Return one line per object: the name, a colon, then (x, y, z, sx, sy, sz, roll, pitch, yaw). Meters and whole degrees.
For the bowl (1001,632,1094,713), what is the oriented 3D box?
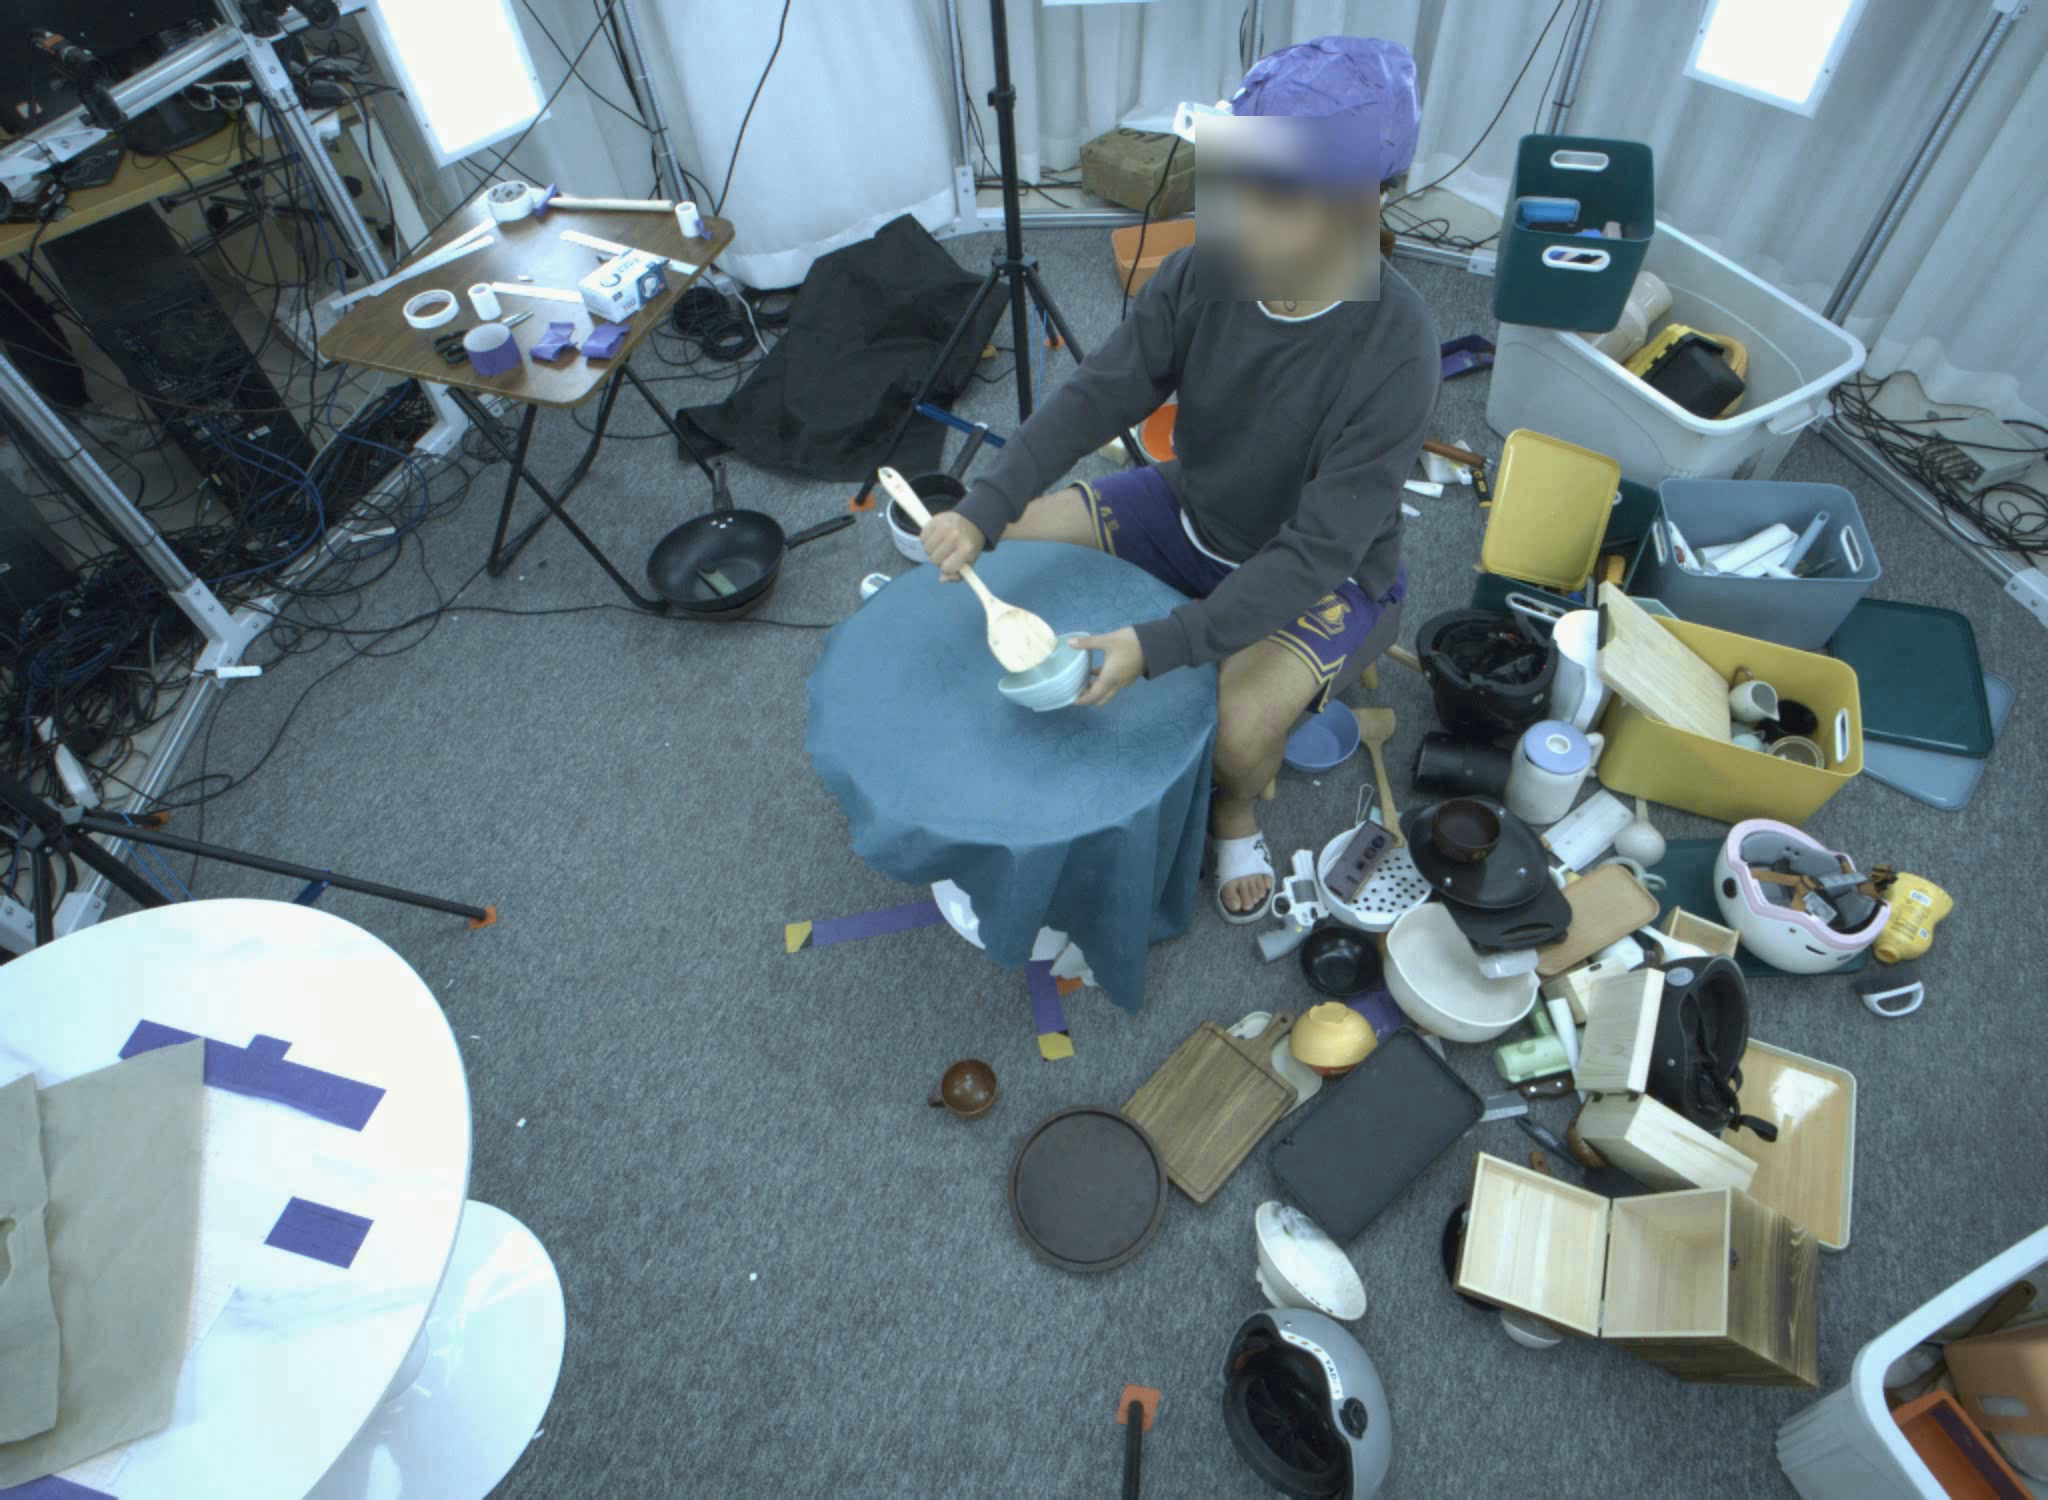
bowl: (0.044, -0.104, 1.772, 0.150, 0.059, 0.150, -24, 29, 16)

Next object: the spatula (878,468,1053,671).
spatula: (-0.103, -0.272, 1.783, 0.096, 0.018, 0.388, -35, 80, -21)
